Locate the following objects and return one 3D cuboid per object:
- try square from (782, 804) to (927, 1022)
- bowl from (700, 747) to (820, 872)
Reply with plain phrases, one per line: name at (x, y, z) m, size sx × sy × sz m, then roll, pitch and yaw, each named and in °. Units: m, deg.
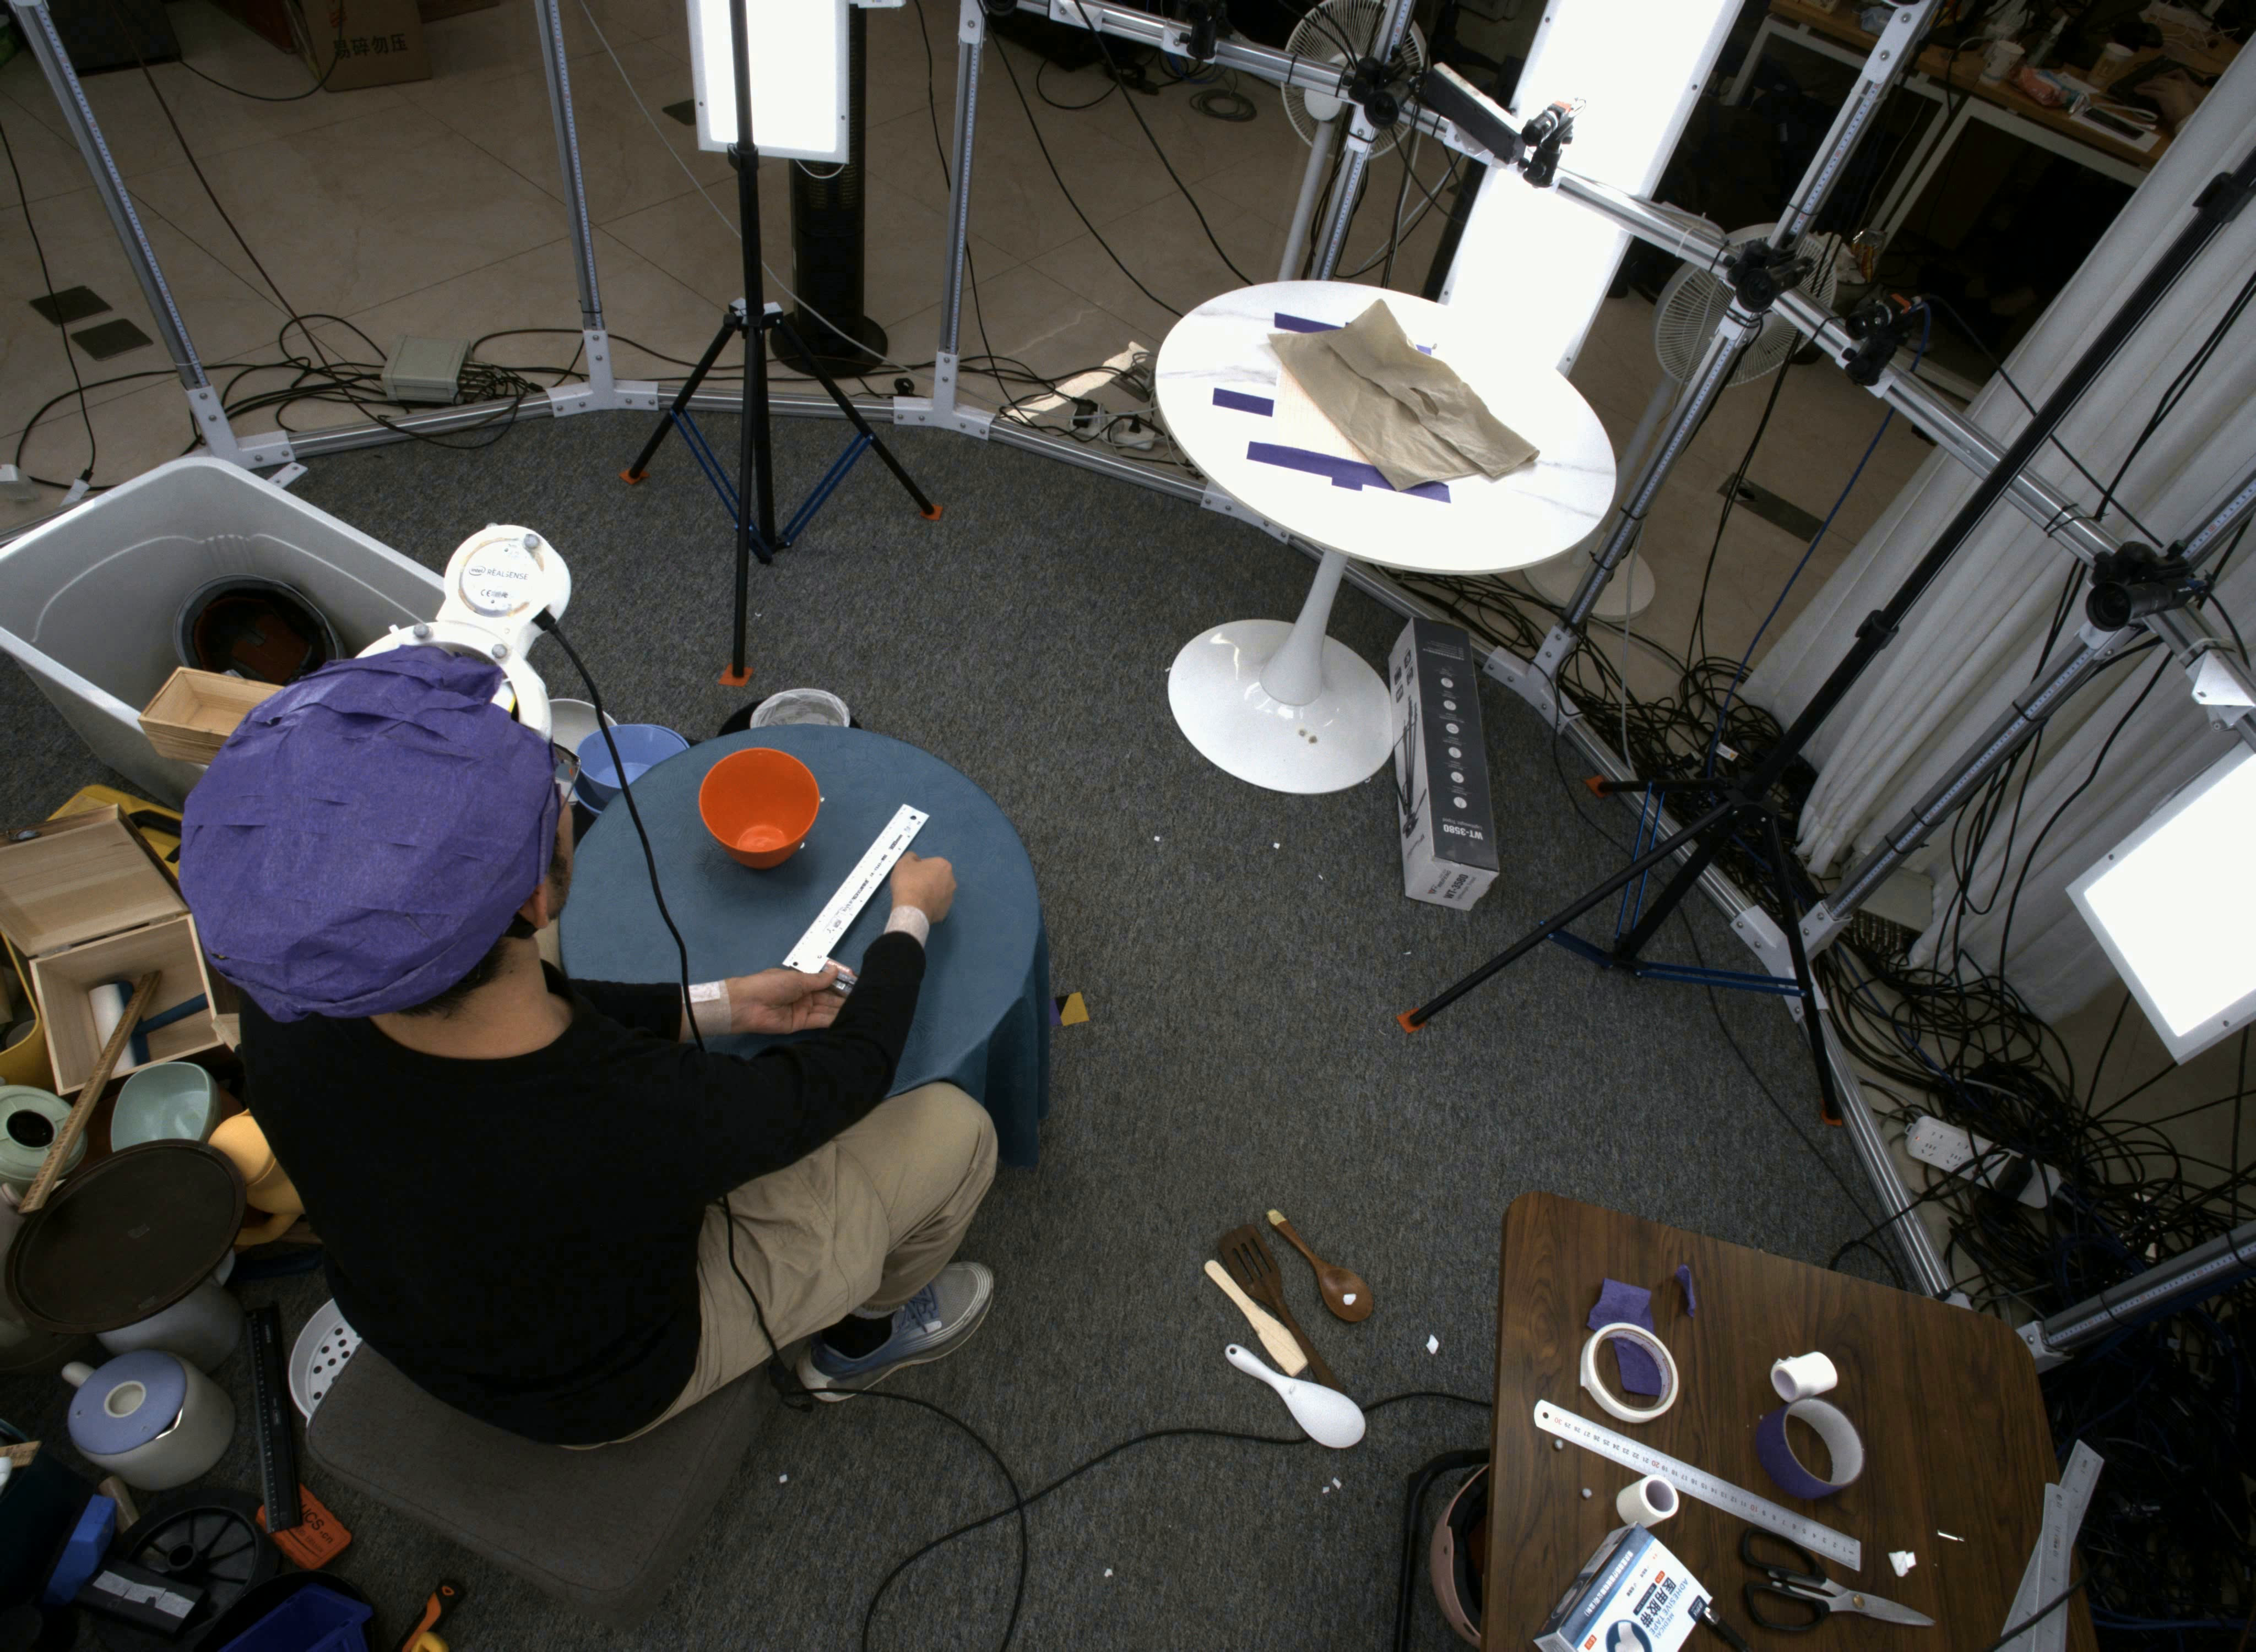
try square at (-0.297, 0.100, 1.663) m, size 0.151 × 0.016 × 0.310 m, roll 26°, pitch 47°, yaw 3°
bowl at (-0.468, -0.010, 1.650) m, size 0.148 × 0.106 × 0.145 m, roll 8°, pitch 52°, yaw -9°
